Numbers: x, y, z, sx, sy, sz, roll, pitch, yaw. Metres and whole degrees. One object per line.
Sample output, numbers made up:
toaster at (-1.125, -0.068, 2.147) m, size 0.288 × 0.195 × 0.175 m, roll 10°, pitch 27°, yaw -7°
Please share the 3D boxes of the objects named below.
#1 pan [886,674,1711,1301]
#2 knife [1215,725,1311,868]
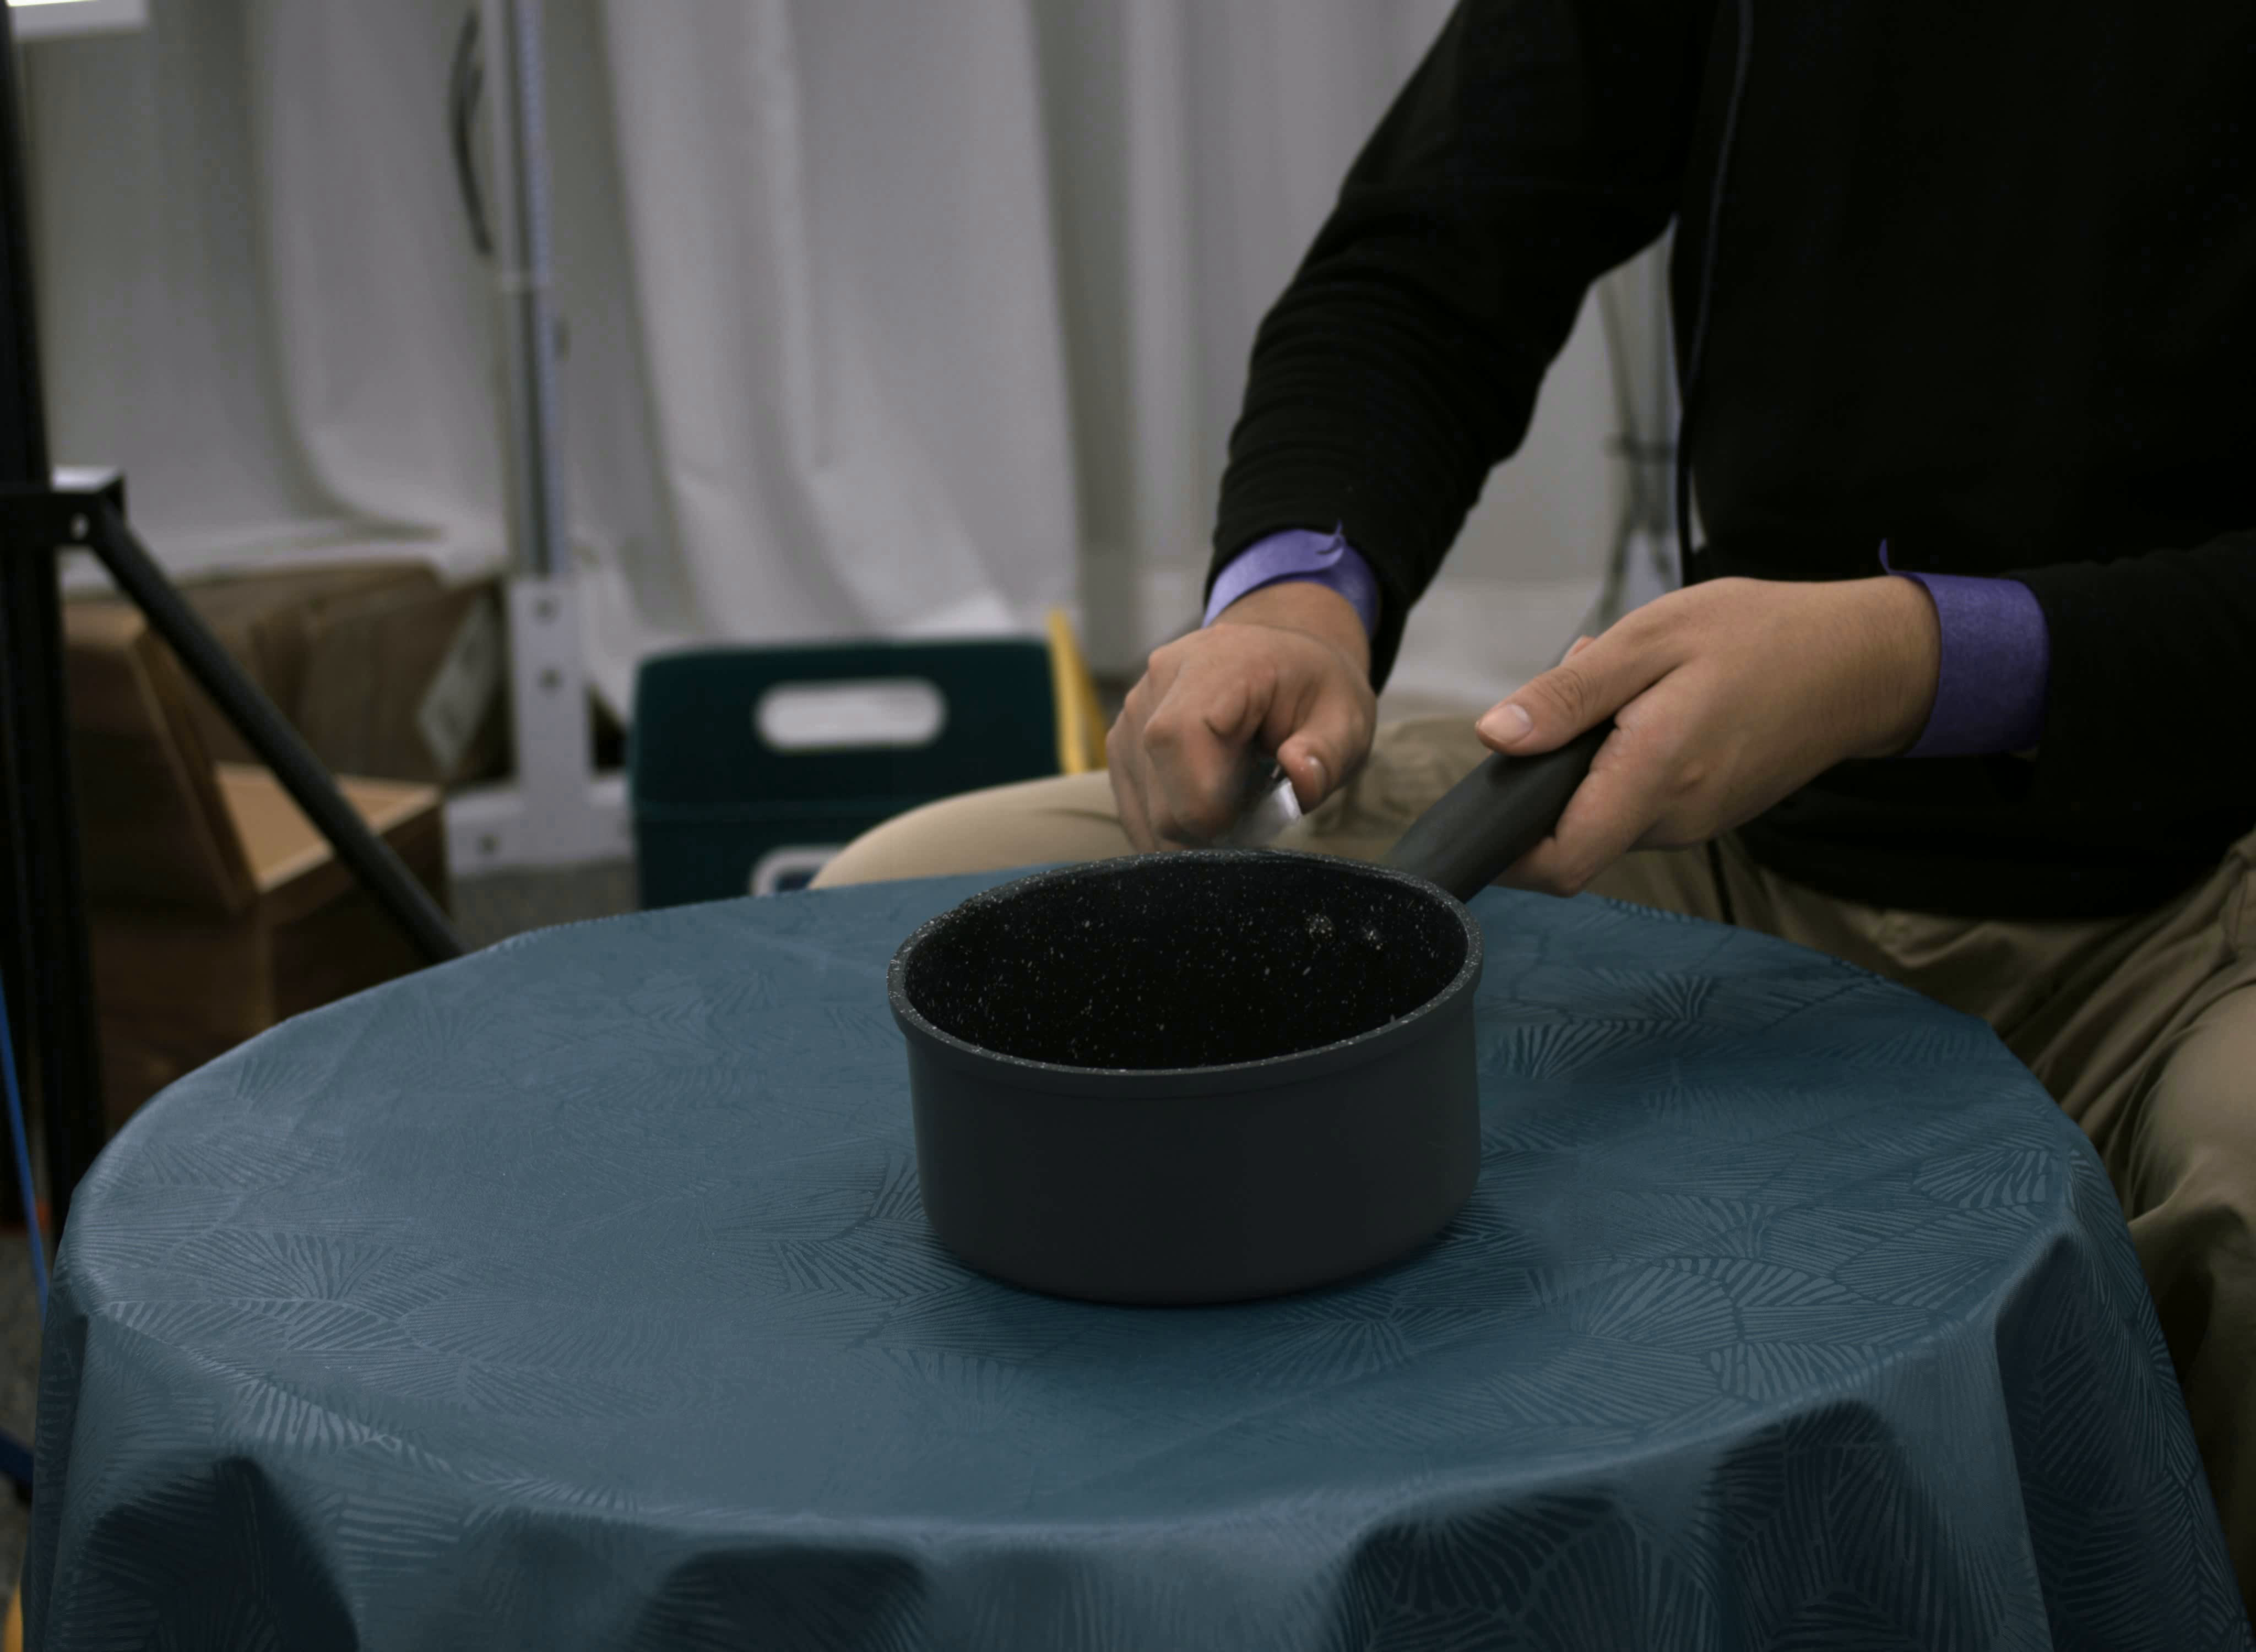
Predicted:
pan at (0.068, 0.044, 1.575) m, size 0.176 × 0.086 × 0.322 m, roll 13°, pitch 28°, yaw 39°
knife at (0.041, -0.006, 1.627) m, size 0.024 × 0.016 × 0.239 m, roll -38°, pitch 8°, yaw 4°
